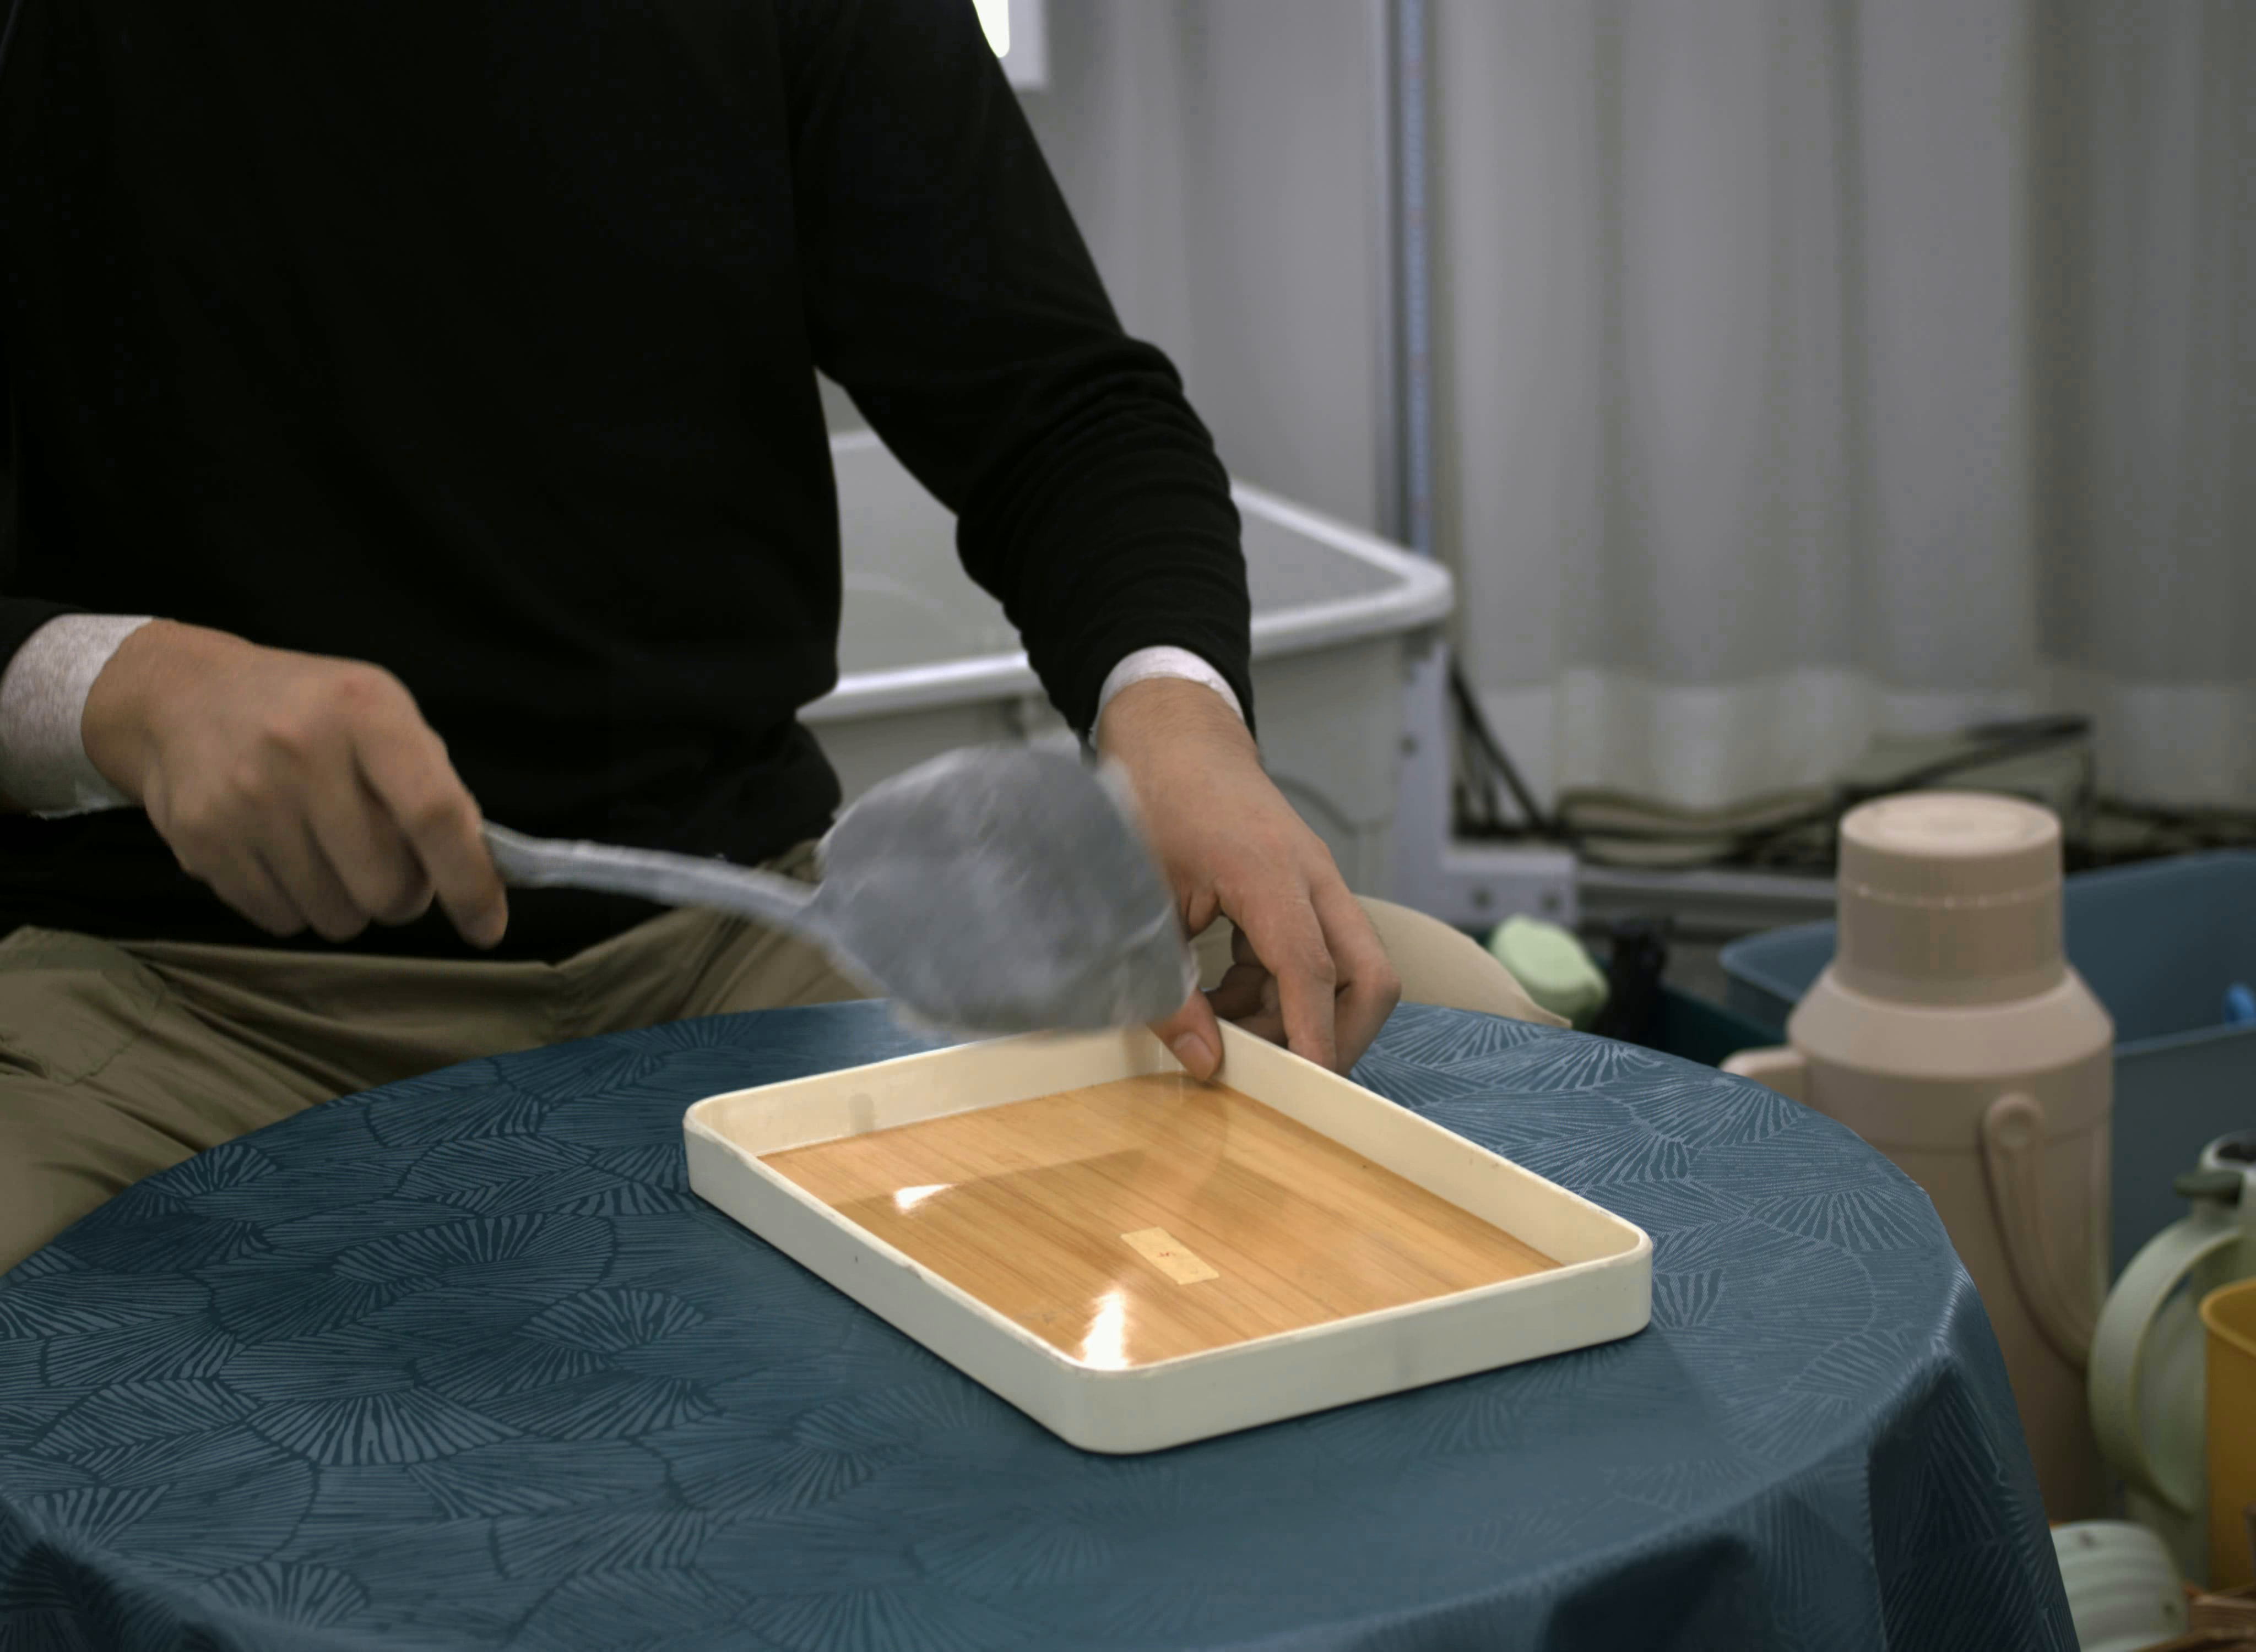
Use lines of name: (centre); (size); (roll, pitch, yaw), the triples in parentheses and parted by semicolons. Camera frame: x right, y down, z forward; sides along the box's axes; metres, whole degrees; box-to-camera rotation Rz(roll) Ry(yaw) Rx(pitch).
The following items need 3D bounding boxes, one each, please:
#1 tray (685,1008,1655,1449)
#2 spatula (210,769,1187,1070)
tray: (0.006, 0.117, 1.653); (0.191, 0.027, 0.302); (-10, 16, -25)
spatula: (-0.140, 0.019, 1.586); (0.366, 0.097, 0.045); (7, 41, 41)
